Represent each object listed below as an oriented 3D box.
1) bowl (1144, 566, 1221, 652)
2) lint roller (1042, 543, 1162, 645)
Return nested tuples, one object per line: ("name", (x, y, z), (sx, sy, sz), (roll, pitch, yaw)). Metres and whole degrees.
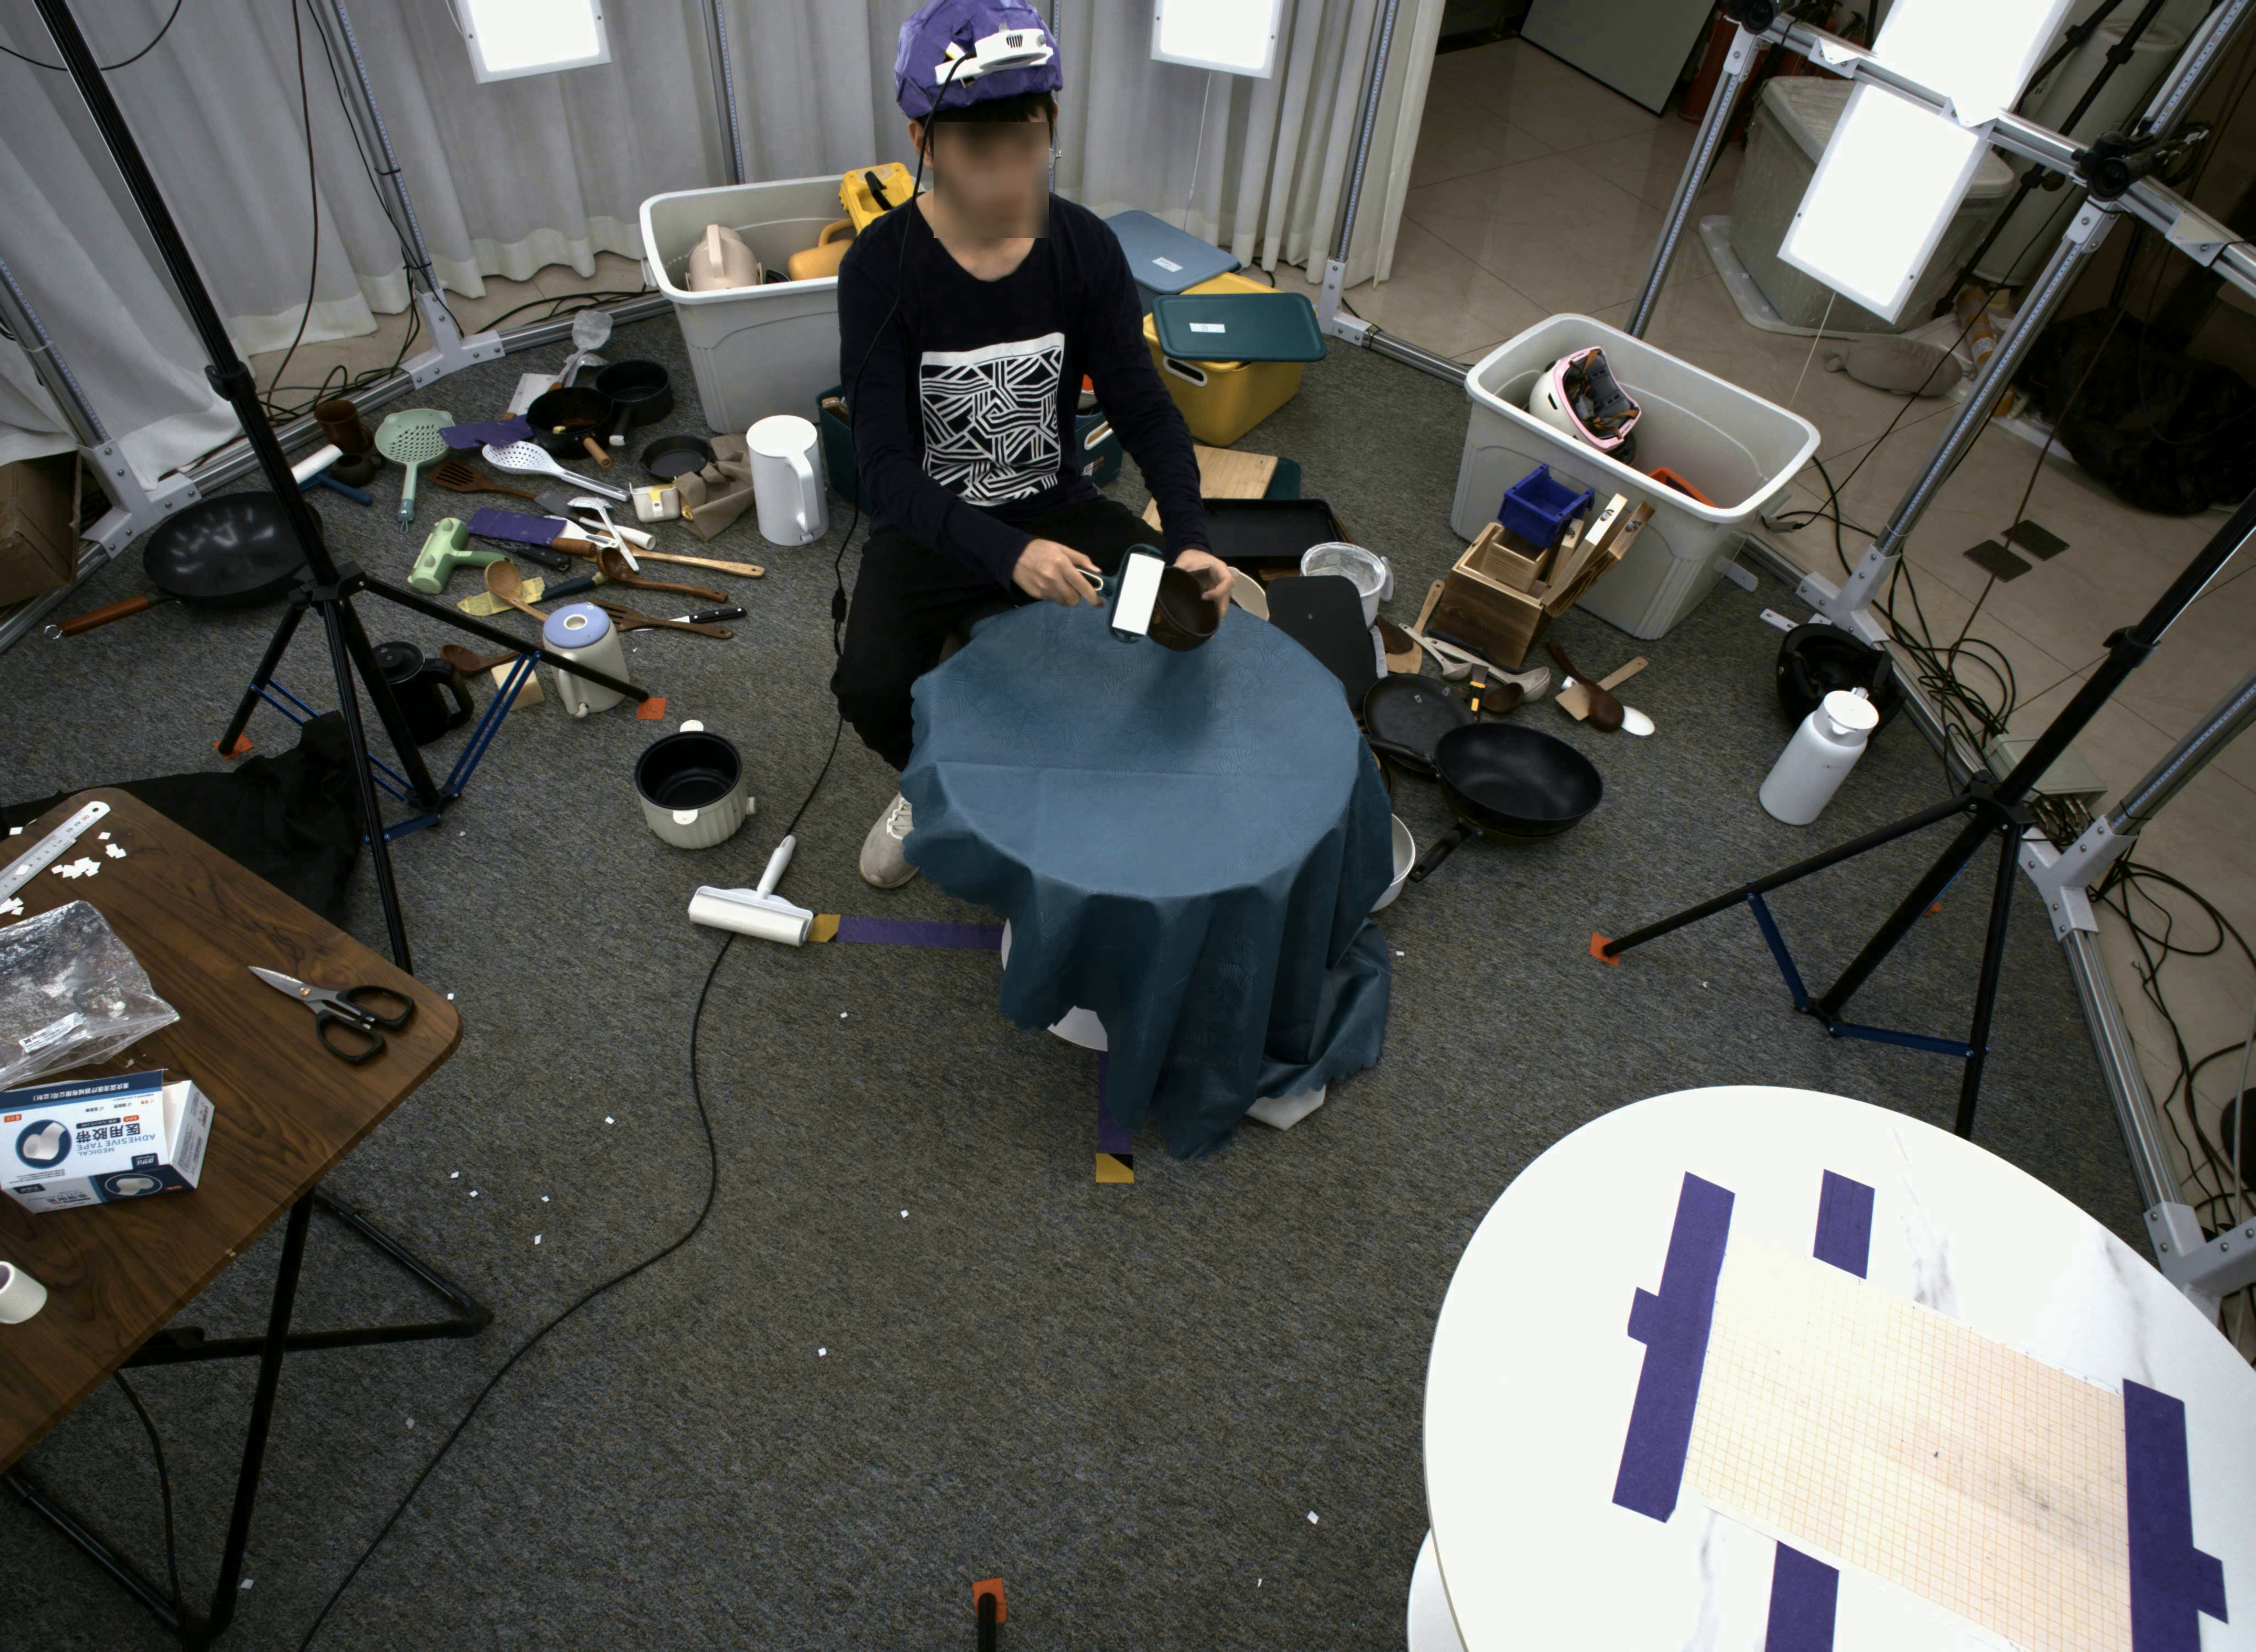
("bowl", (0.063, -0.290, 1.763), (0.117, 0.069, 0.121), (22, 47, -26))
("lint roller", (-0.048, -0.324, 1.722), (0.181, 0.134, 0.048), (17, 6, 24))
